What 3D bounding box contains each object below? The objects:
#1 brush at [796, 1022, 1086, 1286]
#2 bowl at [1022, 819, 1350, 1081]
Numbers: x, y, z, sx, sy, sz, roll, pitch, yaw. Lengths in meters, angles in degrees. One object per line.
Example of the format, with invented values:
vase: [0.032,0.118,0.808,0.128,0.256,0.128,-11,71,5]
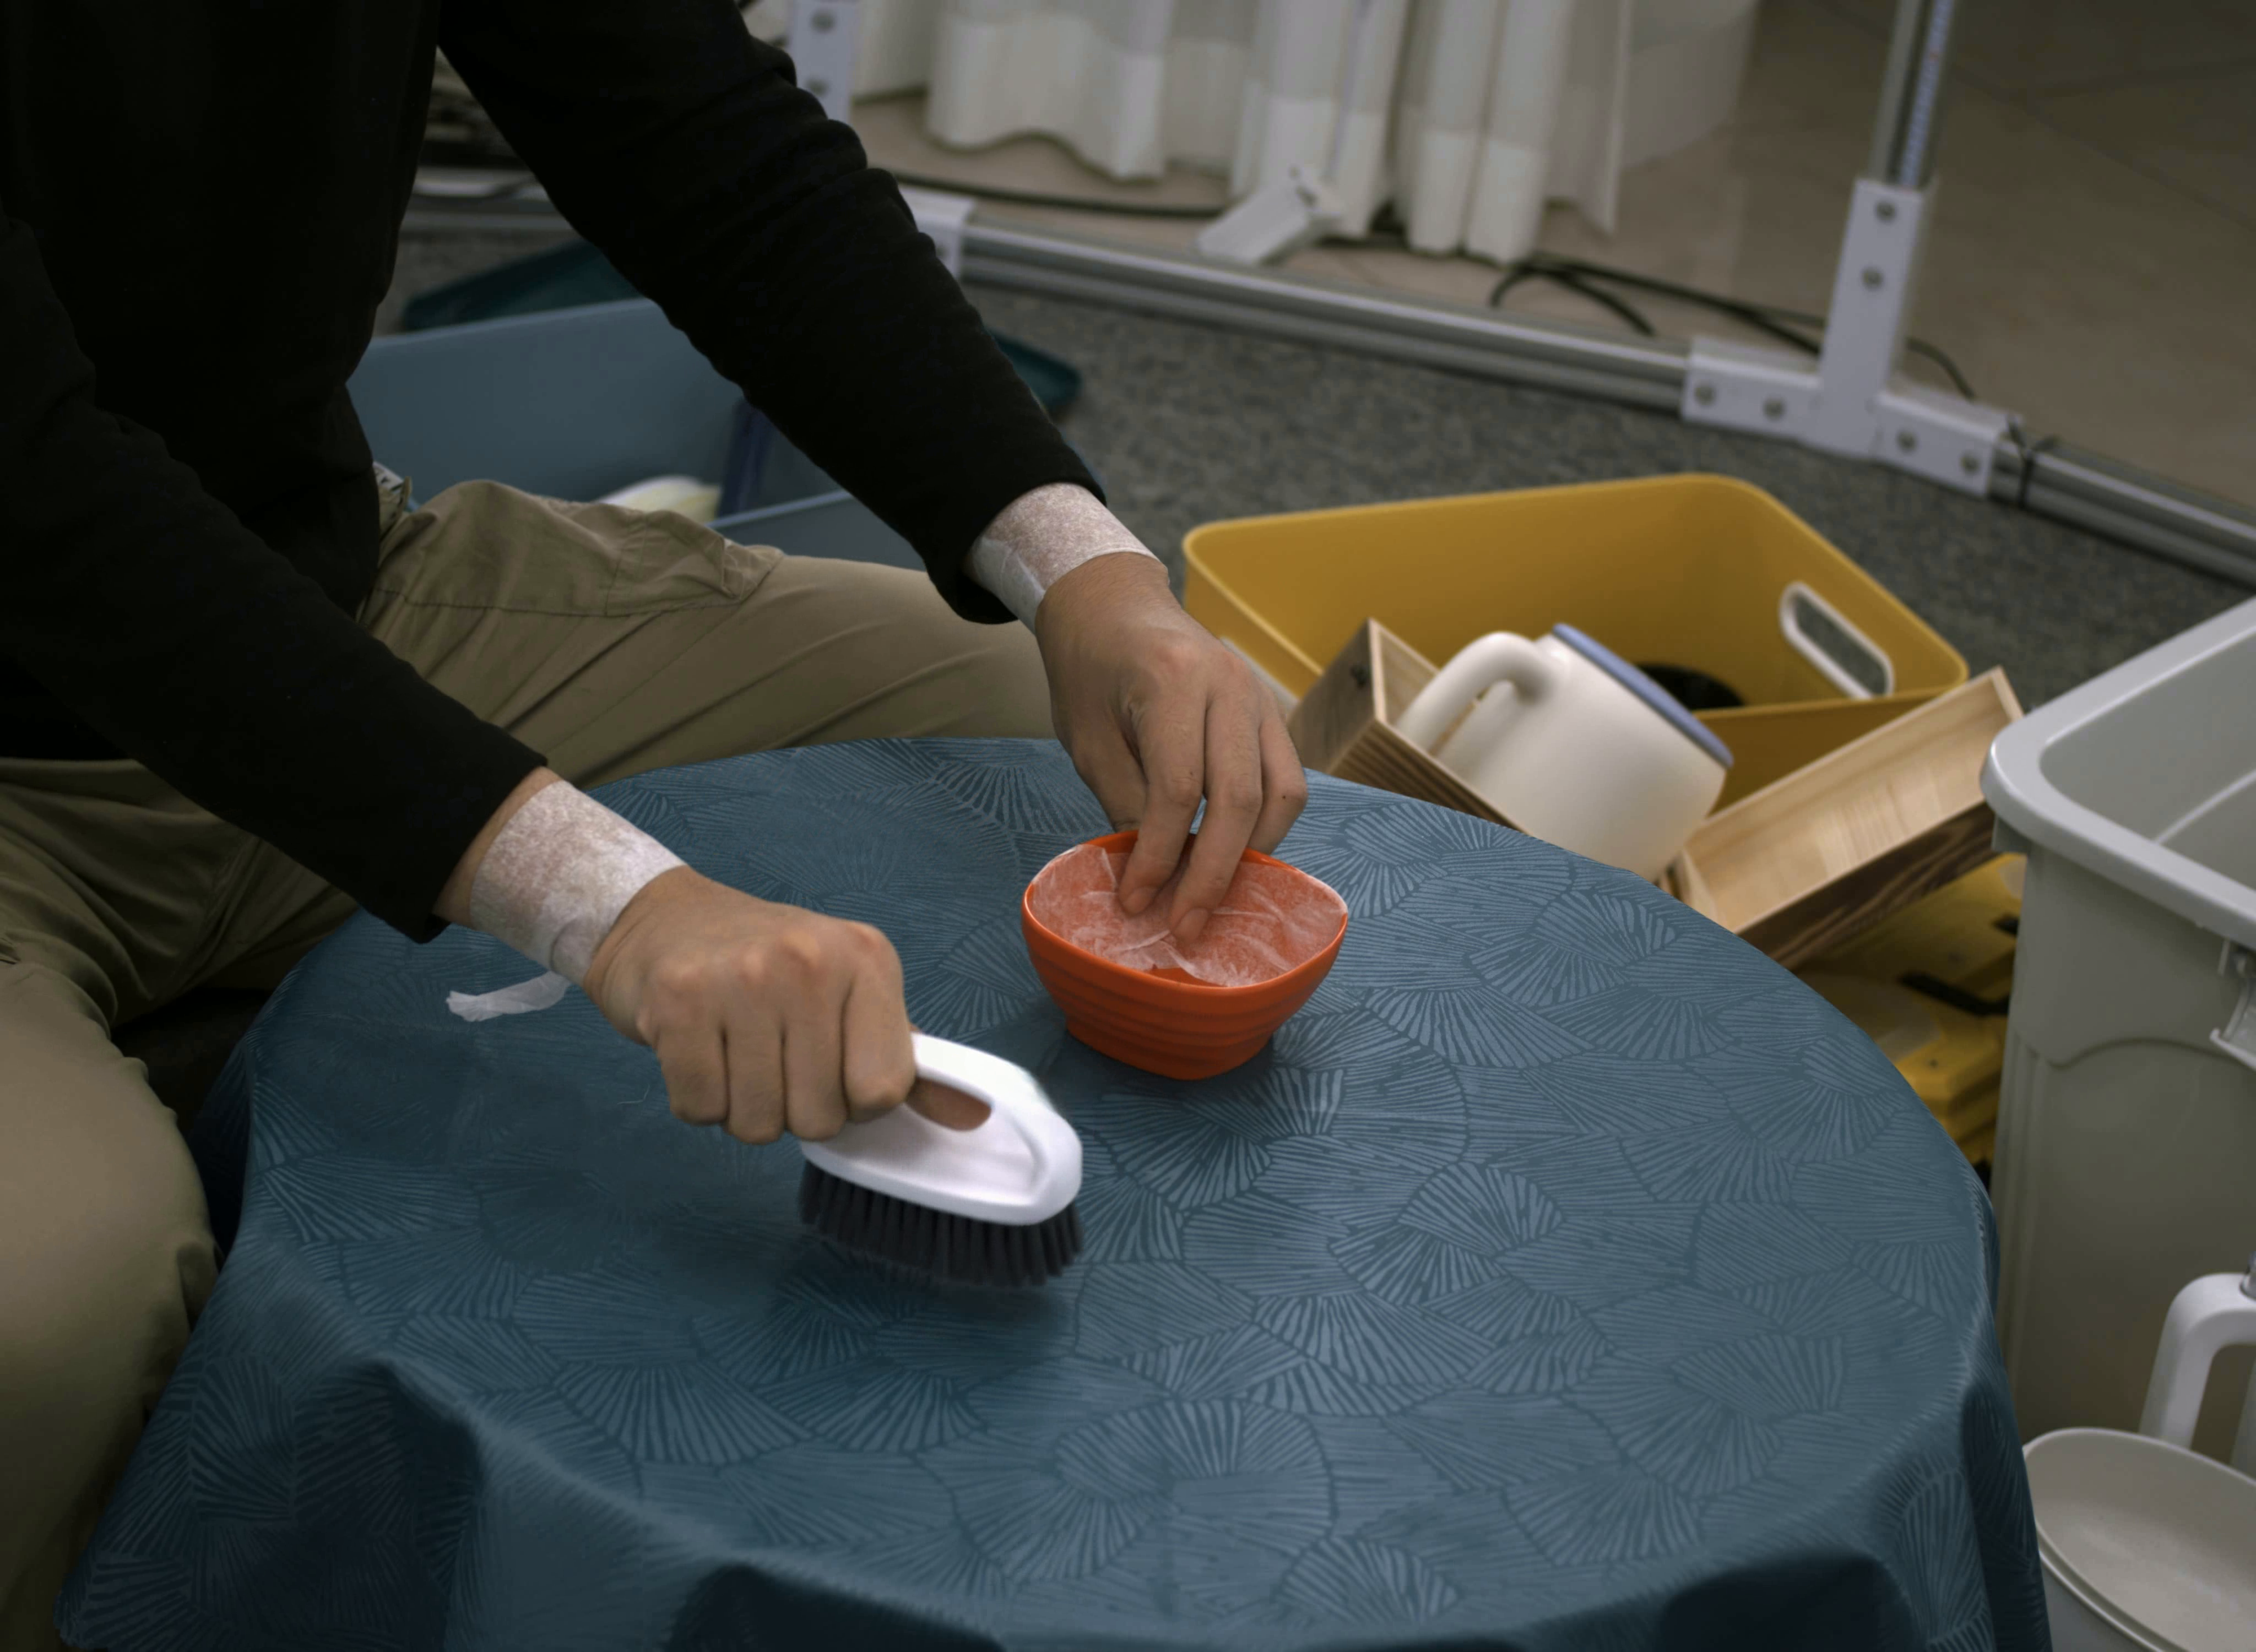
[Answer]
brush: [-0.062,0.099,1.720,0.099,0.072,0.050,16,39,25]
bowl: [0.018,0.049,1.894,0.118,0.051,0.120,7,30,-4]
